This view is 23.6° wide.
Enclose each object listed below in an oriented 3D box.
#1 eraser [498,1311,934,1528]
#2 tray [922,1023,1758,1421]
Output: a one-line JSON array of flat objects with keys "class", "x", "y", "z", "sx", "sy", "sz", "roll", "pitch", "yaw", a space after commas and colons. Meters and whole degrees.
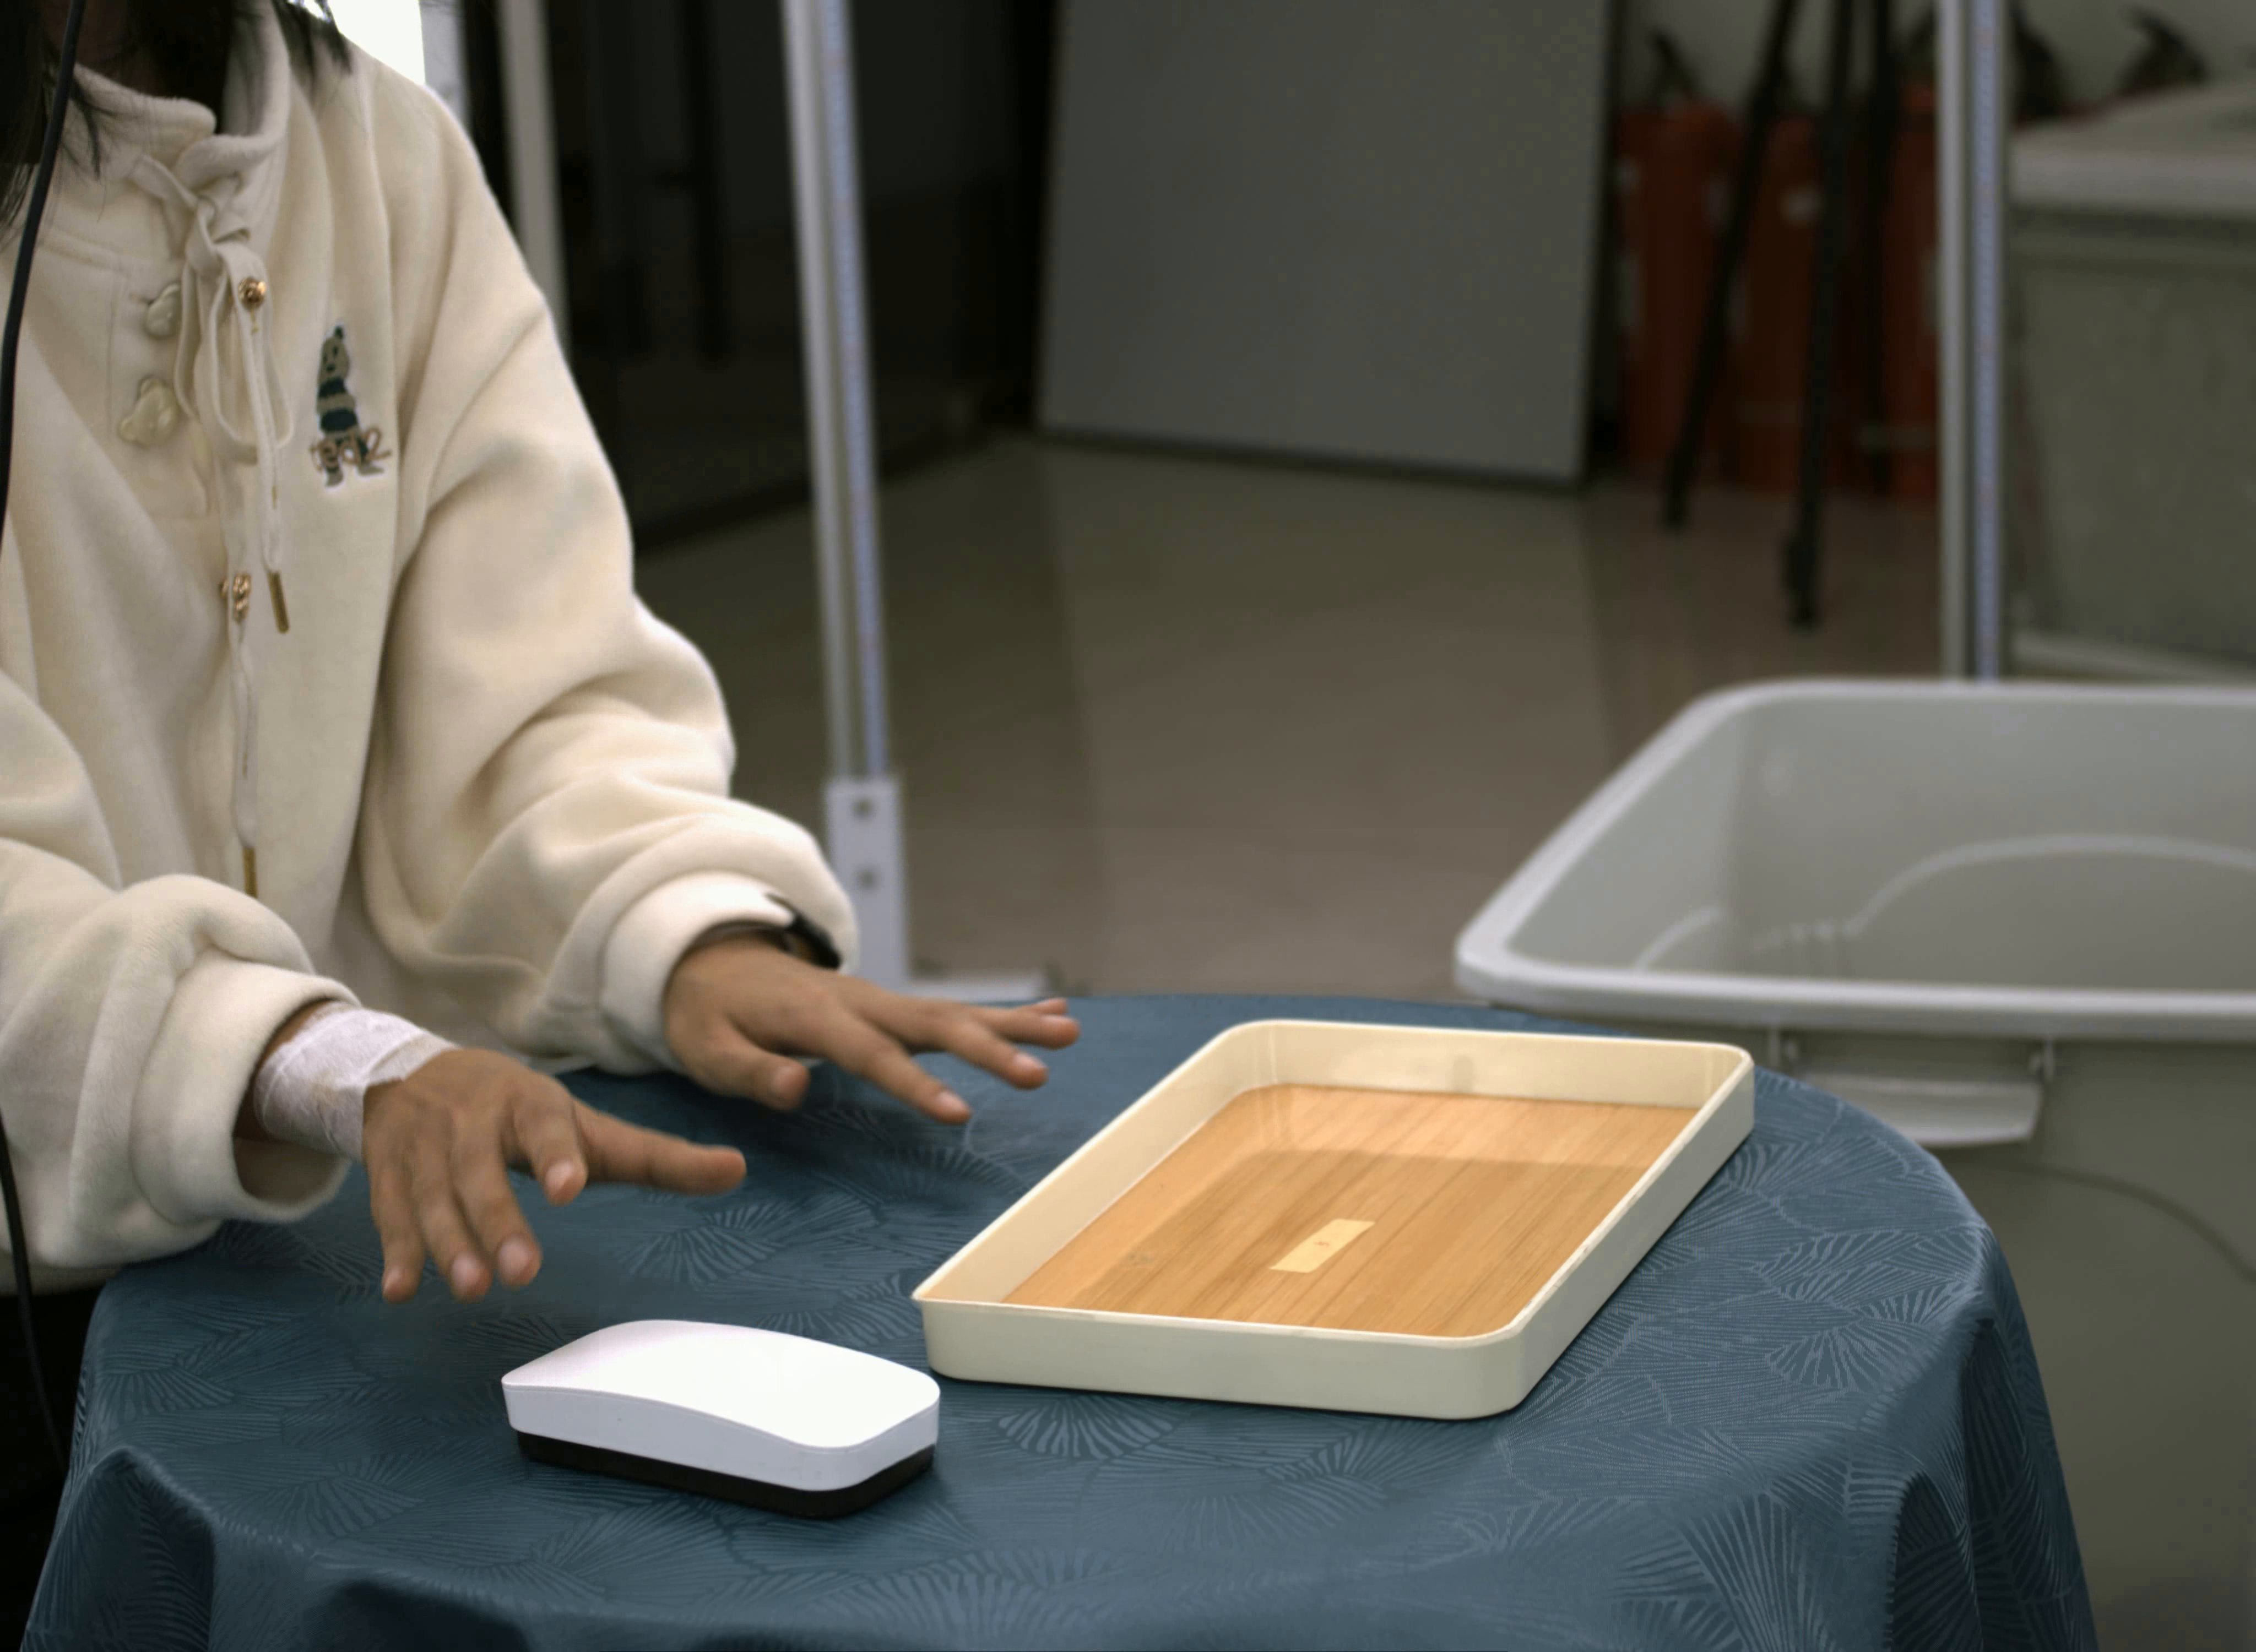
[{"class": "eraser", "x": -0.117, "y": 0.168, "z": 1.550, "sx": 0.132, "sy": 0.035, "sz": 0.062, "roll": 7, "pitch": 18, "yaw": 37}, {"class": "tray", "x": 0.074, "y": 0.120, "z": 1.697, "sx": 0.191, "sy": 0.028, "sz": 0.297, "roll": 2, "pitch": 15, "yaw": 22}]
